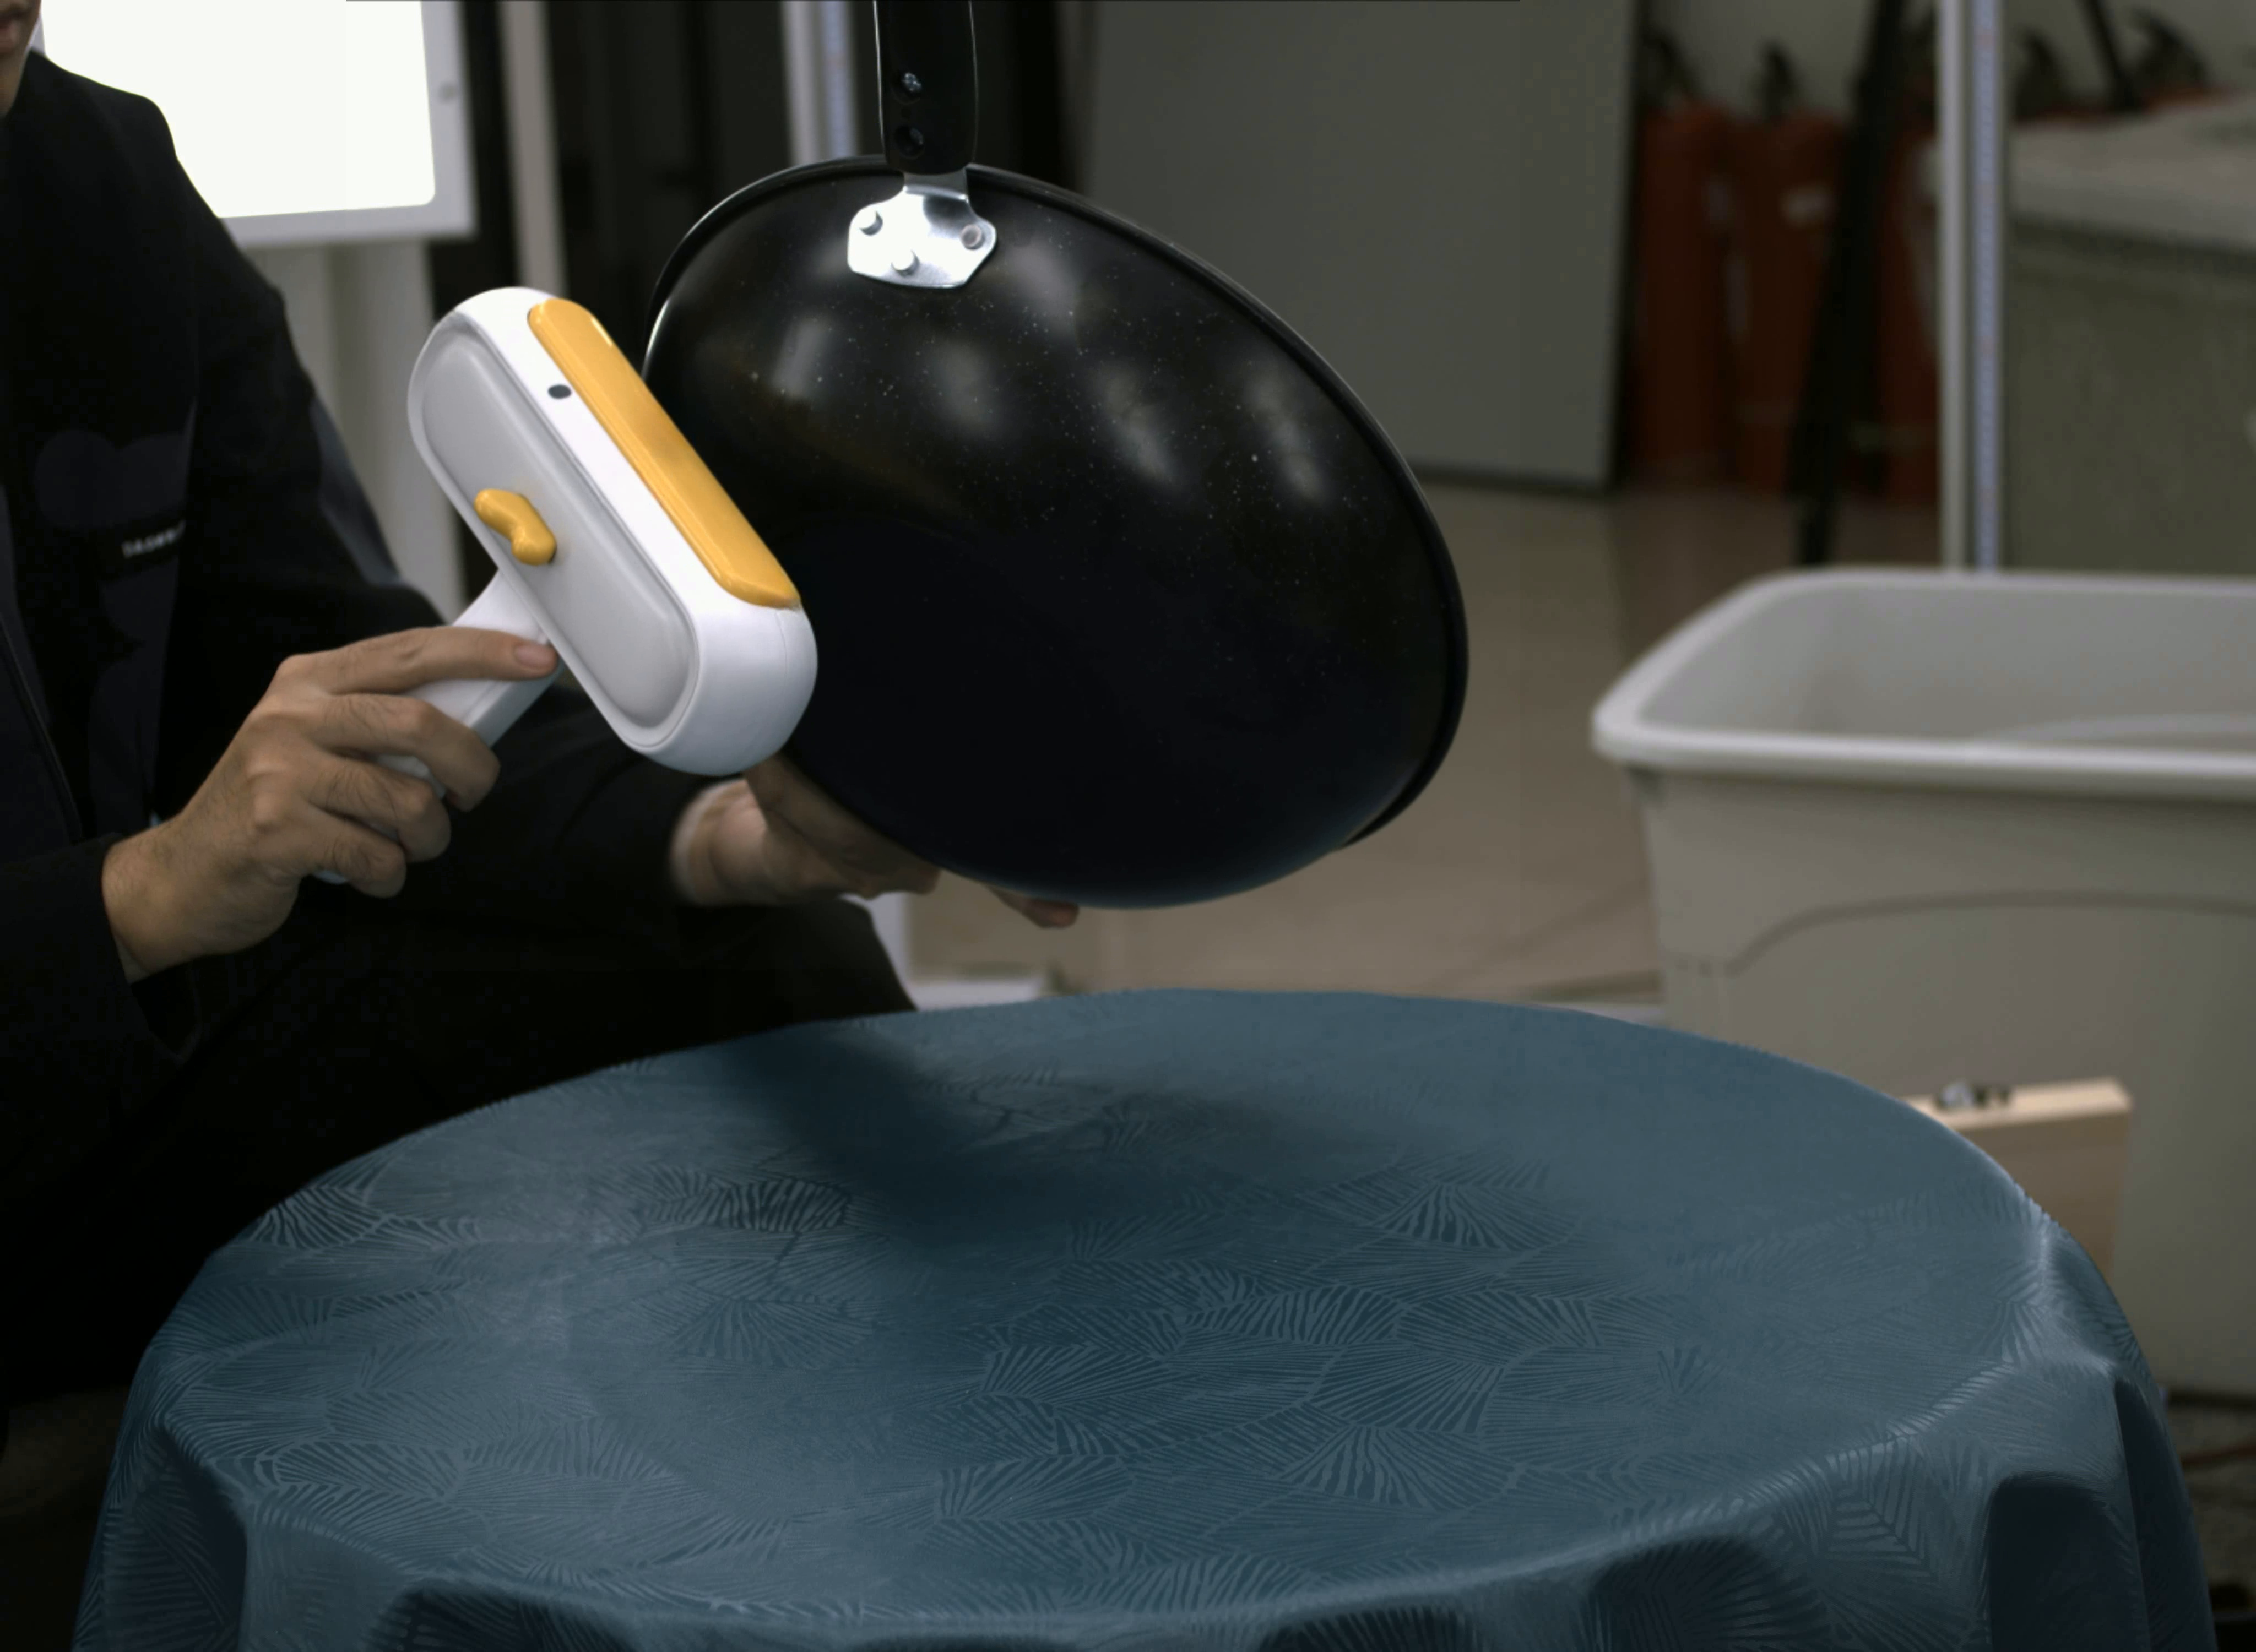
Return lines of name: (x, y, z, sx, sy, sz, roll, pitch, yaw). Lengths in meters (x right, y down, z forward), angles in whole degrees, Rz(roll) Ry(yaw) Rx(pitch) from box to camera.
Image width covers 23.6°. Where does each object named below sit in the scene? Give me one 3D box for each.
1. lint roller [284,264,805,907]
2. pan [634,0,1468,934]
lint roller: (-0.204, -0.056, 1.742, 0.072, 0.194, 0.195, 1, 38, -52)
pan: (-0.055, -0.138, 1.733, 0.311, 0.477, 0.111, 11, 46, 27)
